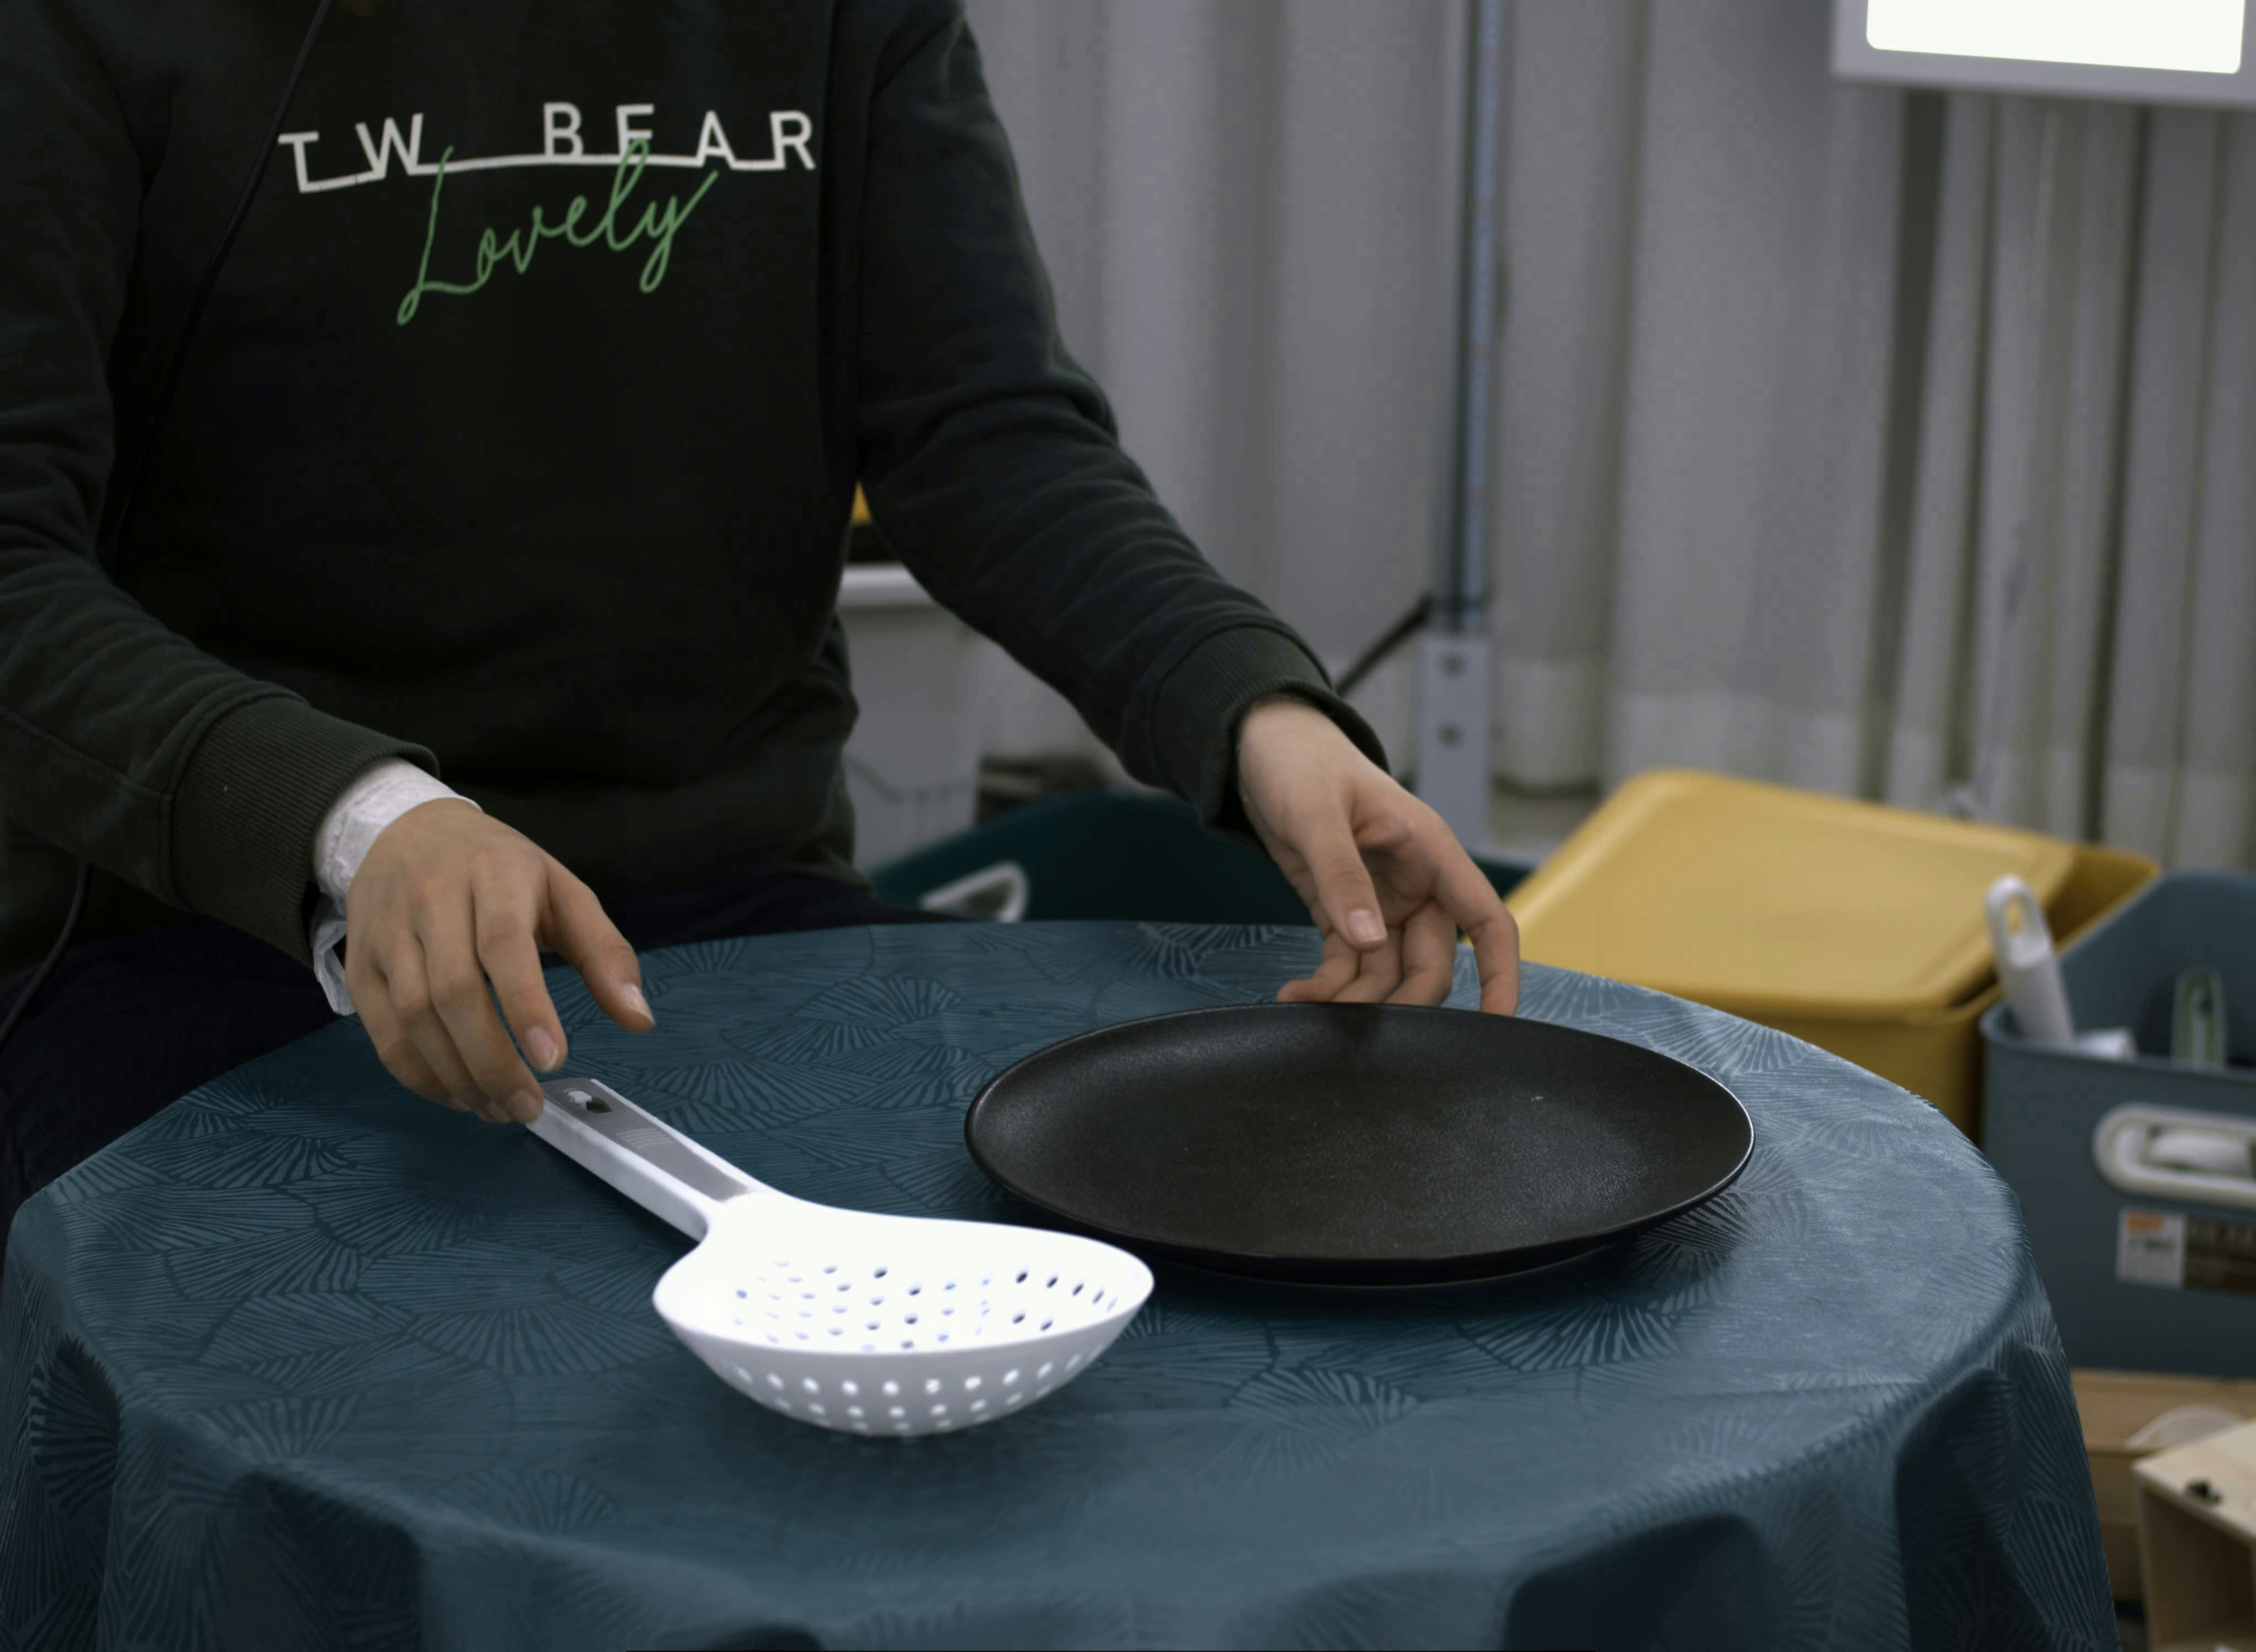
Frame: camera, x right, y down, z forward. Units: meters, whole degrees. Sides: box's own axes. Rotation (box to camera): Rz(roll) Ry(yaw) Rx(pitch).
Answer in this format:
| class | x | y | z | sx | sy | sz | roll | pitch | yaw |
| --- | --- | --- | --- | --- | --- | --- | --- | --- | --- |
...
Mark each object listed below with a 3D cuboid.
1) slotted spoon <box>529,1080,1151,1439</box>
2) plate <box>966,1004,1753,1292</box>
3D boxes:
| class | x | y | z | sx | sy | sz | roll | pitch | yaw |
| --- | --- | --- | --- | --- | --- | --- | --- | --- | --- |
| slotted spoon | -0.107 | 0.116 | 1.526 | 0.136 | 0.046 | 0.345 | -5 | 16 | -25 |
| plate | 0.071 | 0.101 | 1.628 | 0.243 | 0.023 | 0.243 | 1 | 16 | 0 |
